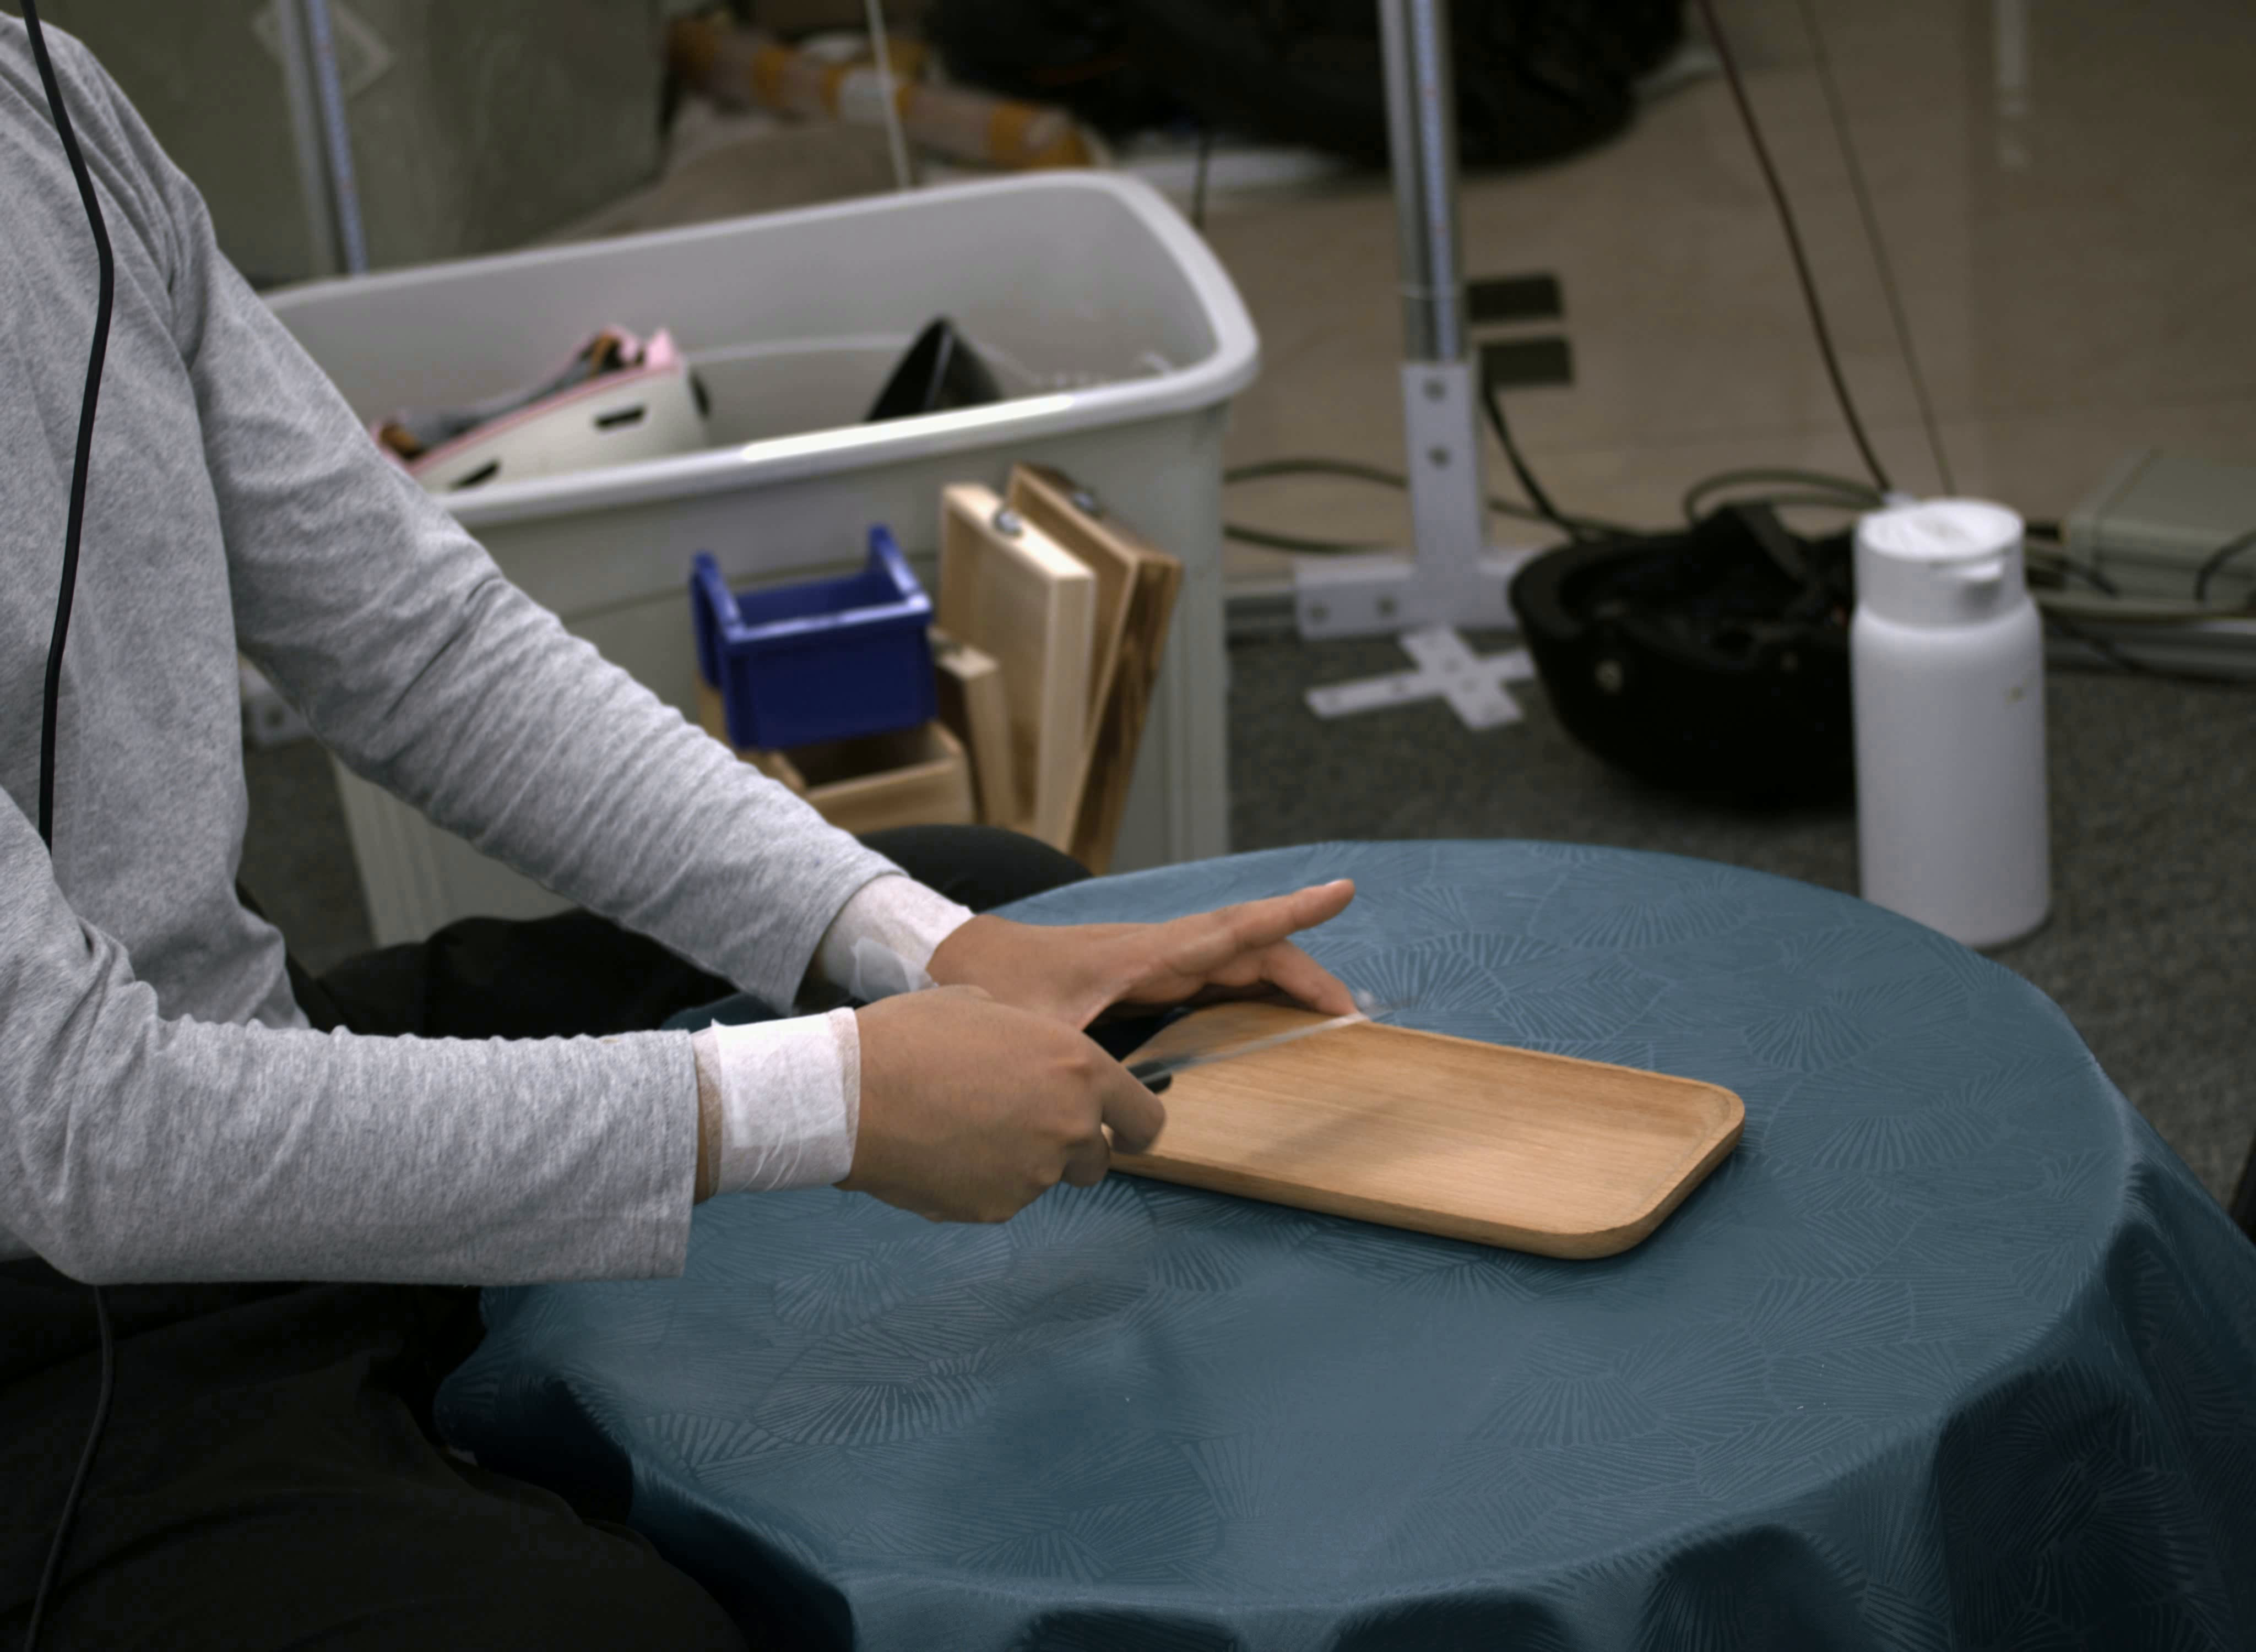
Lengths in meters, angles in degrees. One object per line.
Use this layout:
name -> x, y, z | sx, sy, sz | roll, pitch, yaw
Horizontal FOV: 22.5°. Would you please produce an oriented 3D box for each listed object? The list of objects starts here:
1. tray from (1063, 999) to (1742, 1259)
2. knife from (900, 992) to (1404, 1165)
tray -> 0.103, 0.114, 2.160 | 0.249, 0.023, 0.129 | 9, 26, 32
knife -> 0.015, 0.090, 2.111 | 0.237, 0.016, 0.024 | -16, -1, -35
